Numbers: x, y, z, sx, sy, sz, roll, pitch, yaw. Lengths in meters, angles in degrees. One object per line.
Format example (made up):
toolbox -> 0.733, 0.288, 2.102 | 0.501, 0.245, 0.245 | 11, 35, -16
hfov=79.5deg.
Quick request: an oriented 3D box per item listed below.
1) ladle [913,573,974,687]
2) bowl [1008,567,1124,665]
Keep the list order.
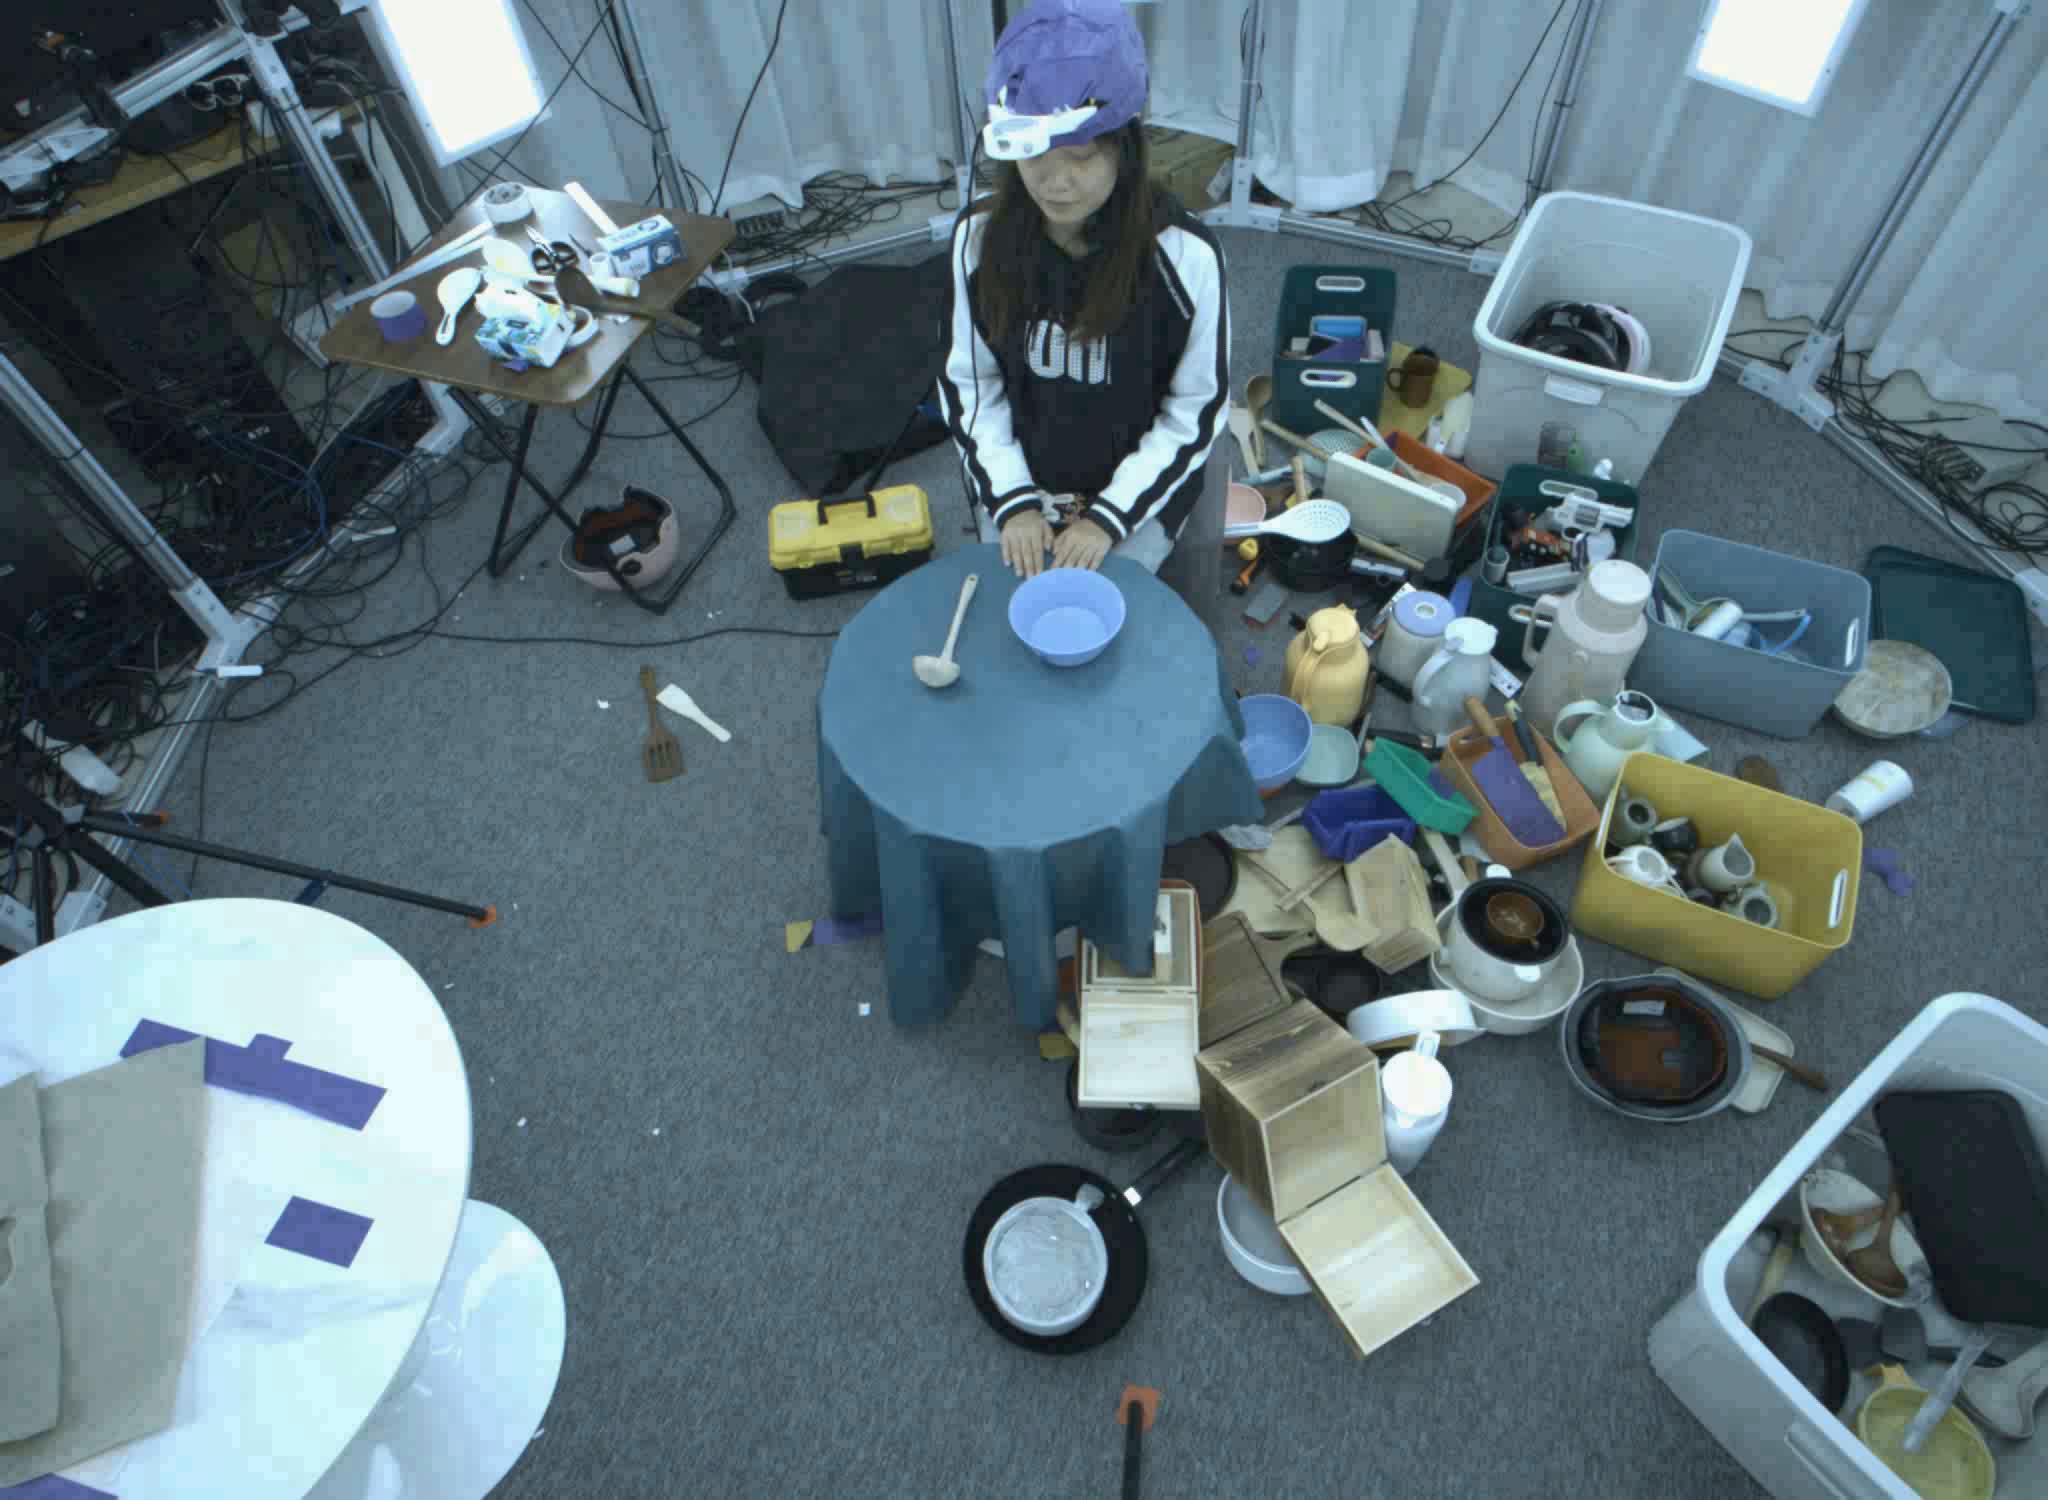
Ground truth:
ladle -> -0.114, -0.207, 1.893 | 0.072, 0.073, 0.253 | 7, 55, 8
bowl -> 0.064, -0.195, 1.881 | 0.176, 0.071, 0.174 | 0, 55, 1
